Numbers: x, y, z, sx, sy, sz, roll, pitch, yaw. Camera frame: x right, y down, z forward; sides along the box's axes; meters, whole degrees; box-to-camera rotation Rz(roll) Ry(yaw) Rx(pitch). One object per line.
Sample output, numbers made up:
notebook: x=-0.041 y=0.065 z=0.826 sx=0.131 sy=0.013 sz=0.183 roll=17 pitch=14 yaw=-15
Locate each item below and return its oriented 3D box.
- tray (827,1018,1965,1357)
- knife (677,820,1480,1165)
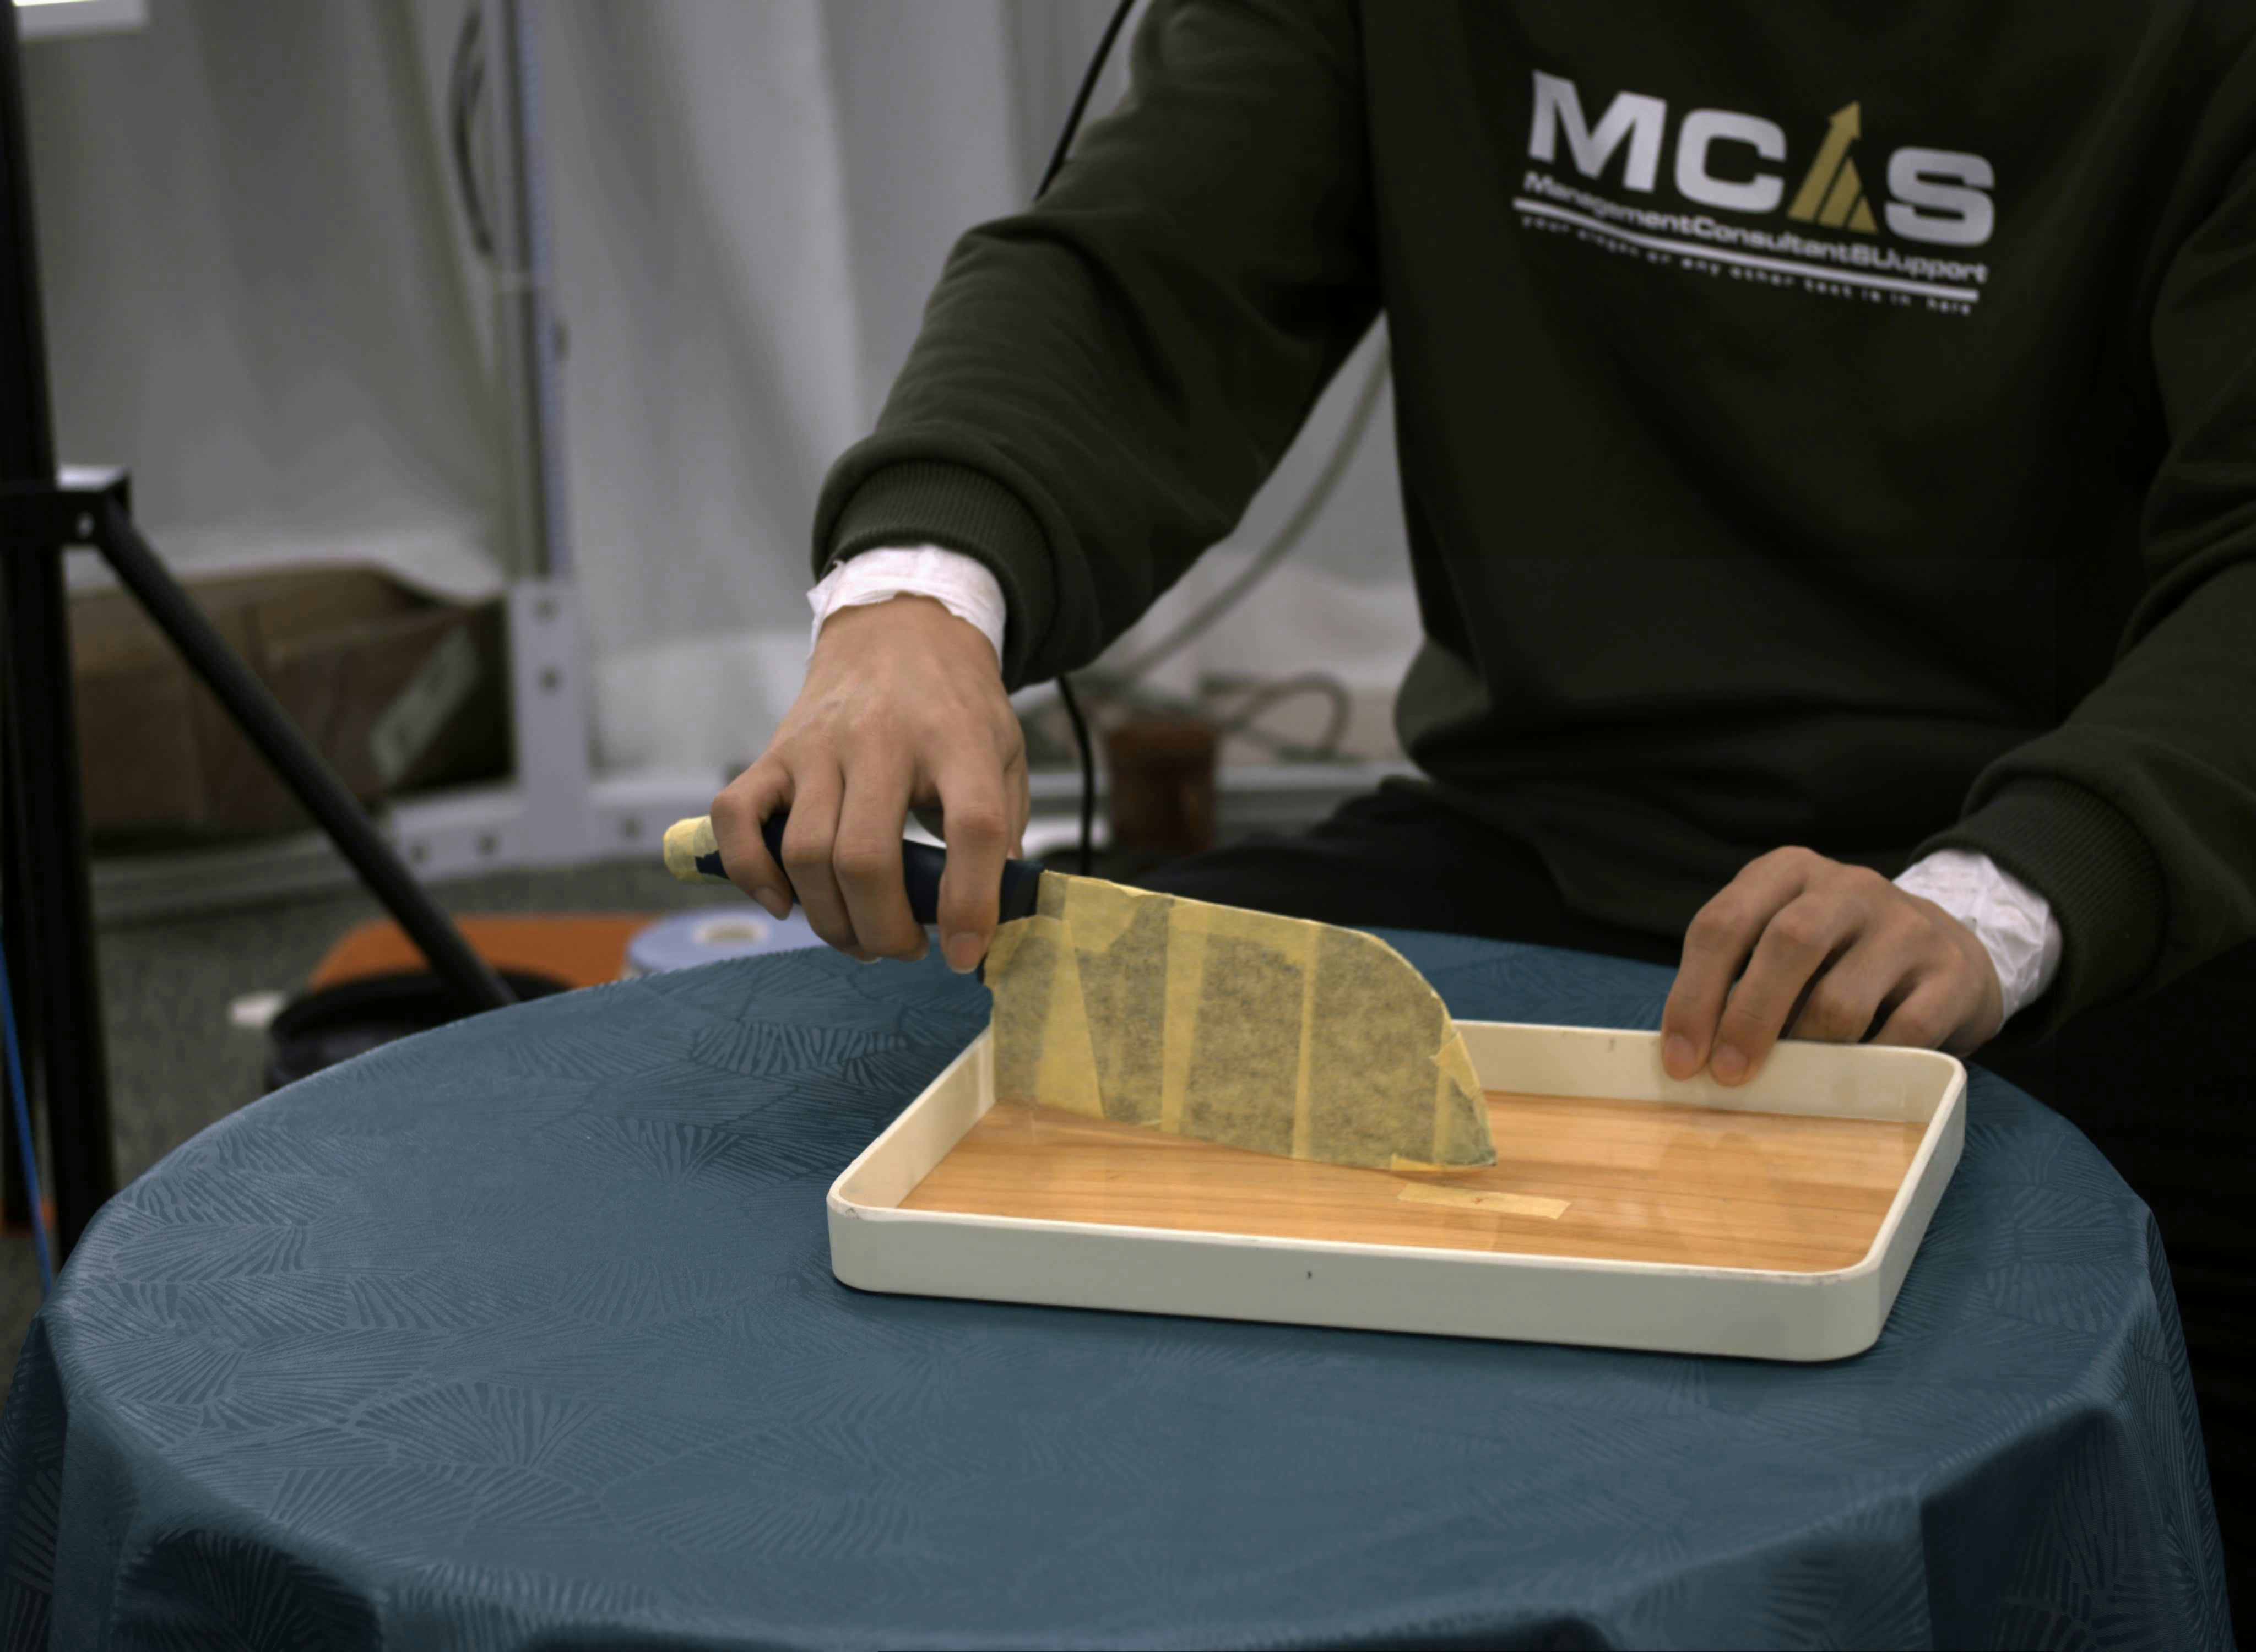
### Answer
tray: x=0.081 y=0.099 z=1.527 sx=0.303 sy=0.027 sz=0.189 roll=3 pitch=17 yaw=19
knife: x=-0.019 y=0.048 z=1.596 sx=0.295 sy=0.081 sz=0.026 roll=15 pitch=13 yaw=33
